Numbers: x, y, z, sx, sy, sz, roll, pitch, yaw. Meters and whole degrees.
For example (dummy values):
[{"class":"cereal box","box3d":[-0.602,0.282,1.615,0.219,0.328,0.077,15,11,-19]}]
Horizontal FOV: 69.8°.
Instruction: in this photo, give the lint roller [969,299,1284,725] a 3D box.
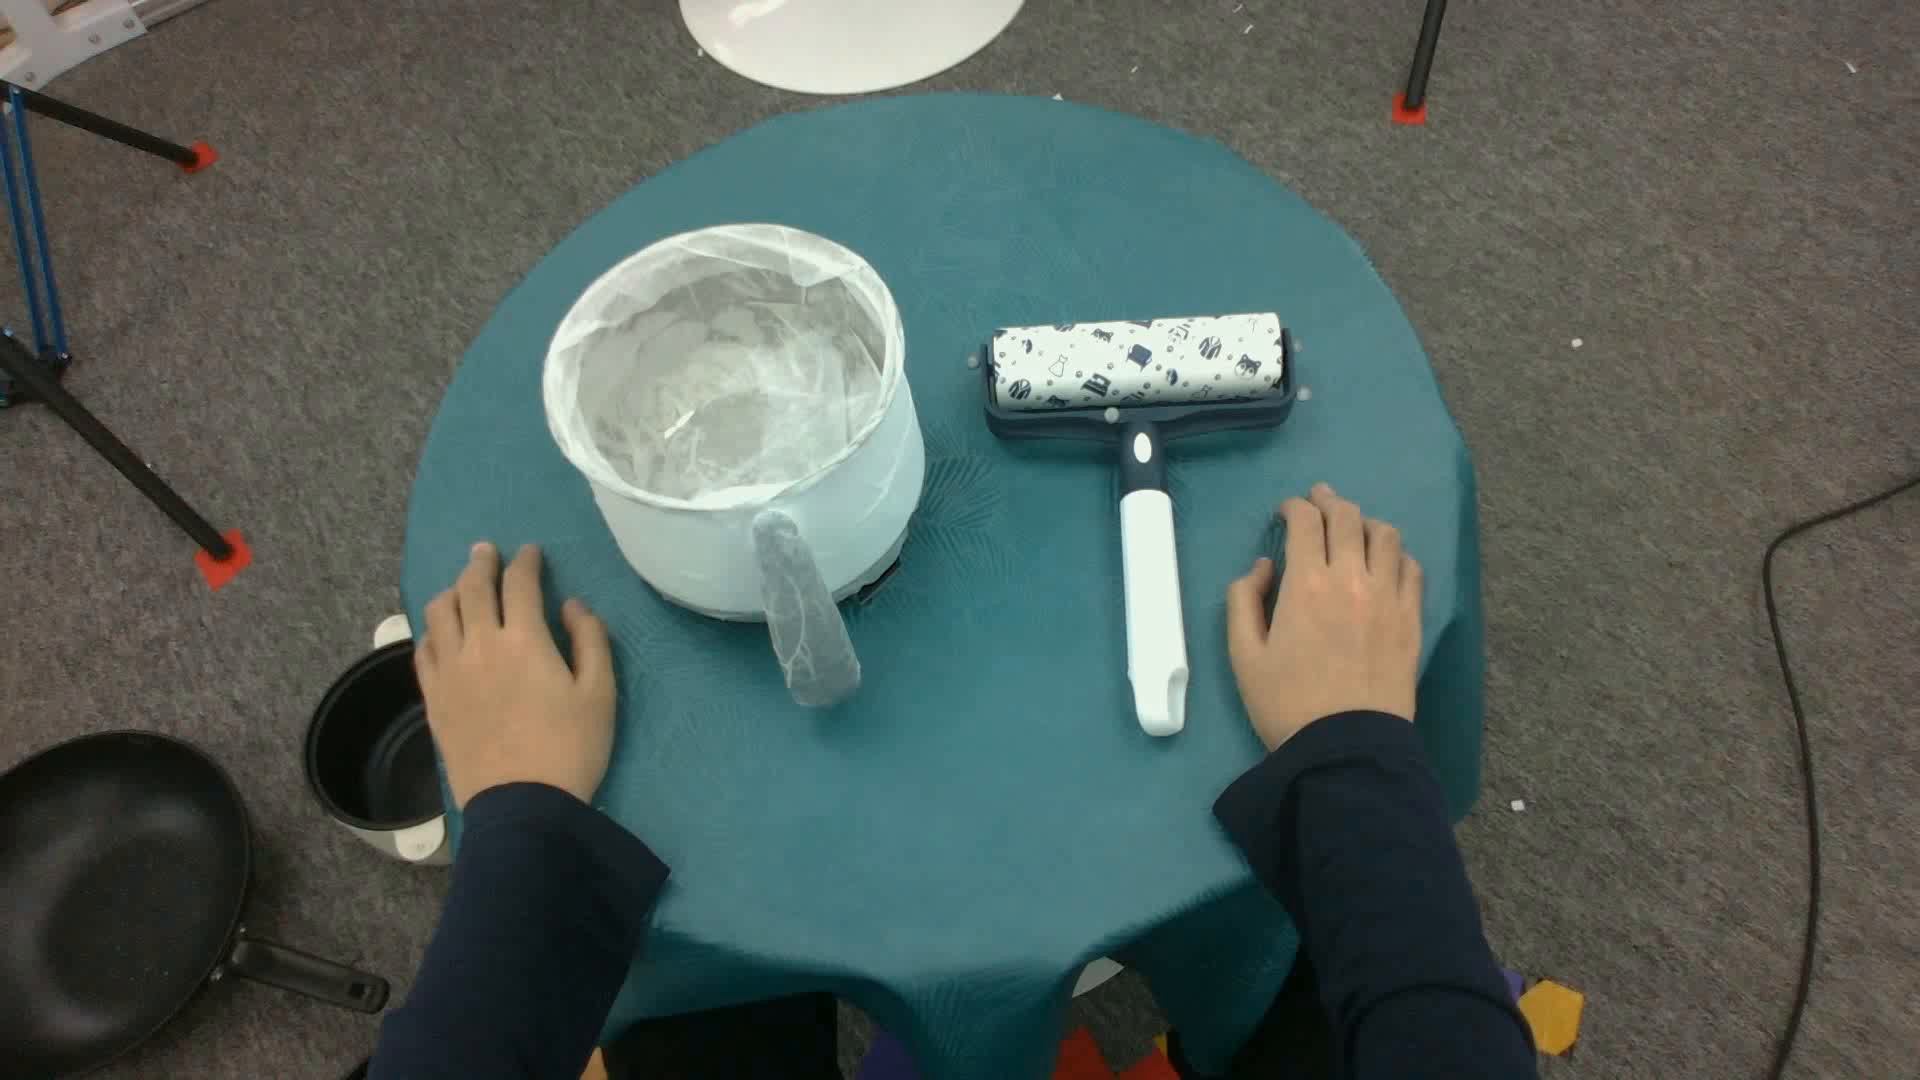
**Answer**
[{"class":"lint roller","box3d":[0.096,-0.023,0.737,0.176,0.050,0.248,-3,61,2]}]

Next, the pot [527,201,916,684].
[{"class":"pot","box3d":[-0.107,-0.046,0.706,0.179,0.136,0.234,-20,57,-4]}]
